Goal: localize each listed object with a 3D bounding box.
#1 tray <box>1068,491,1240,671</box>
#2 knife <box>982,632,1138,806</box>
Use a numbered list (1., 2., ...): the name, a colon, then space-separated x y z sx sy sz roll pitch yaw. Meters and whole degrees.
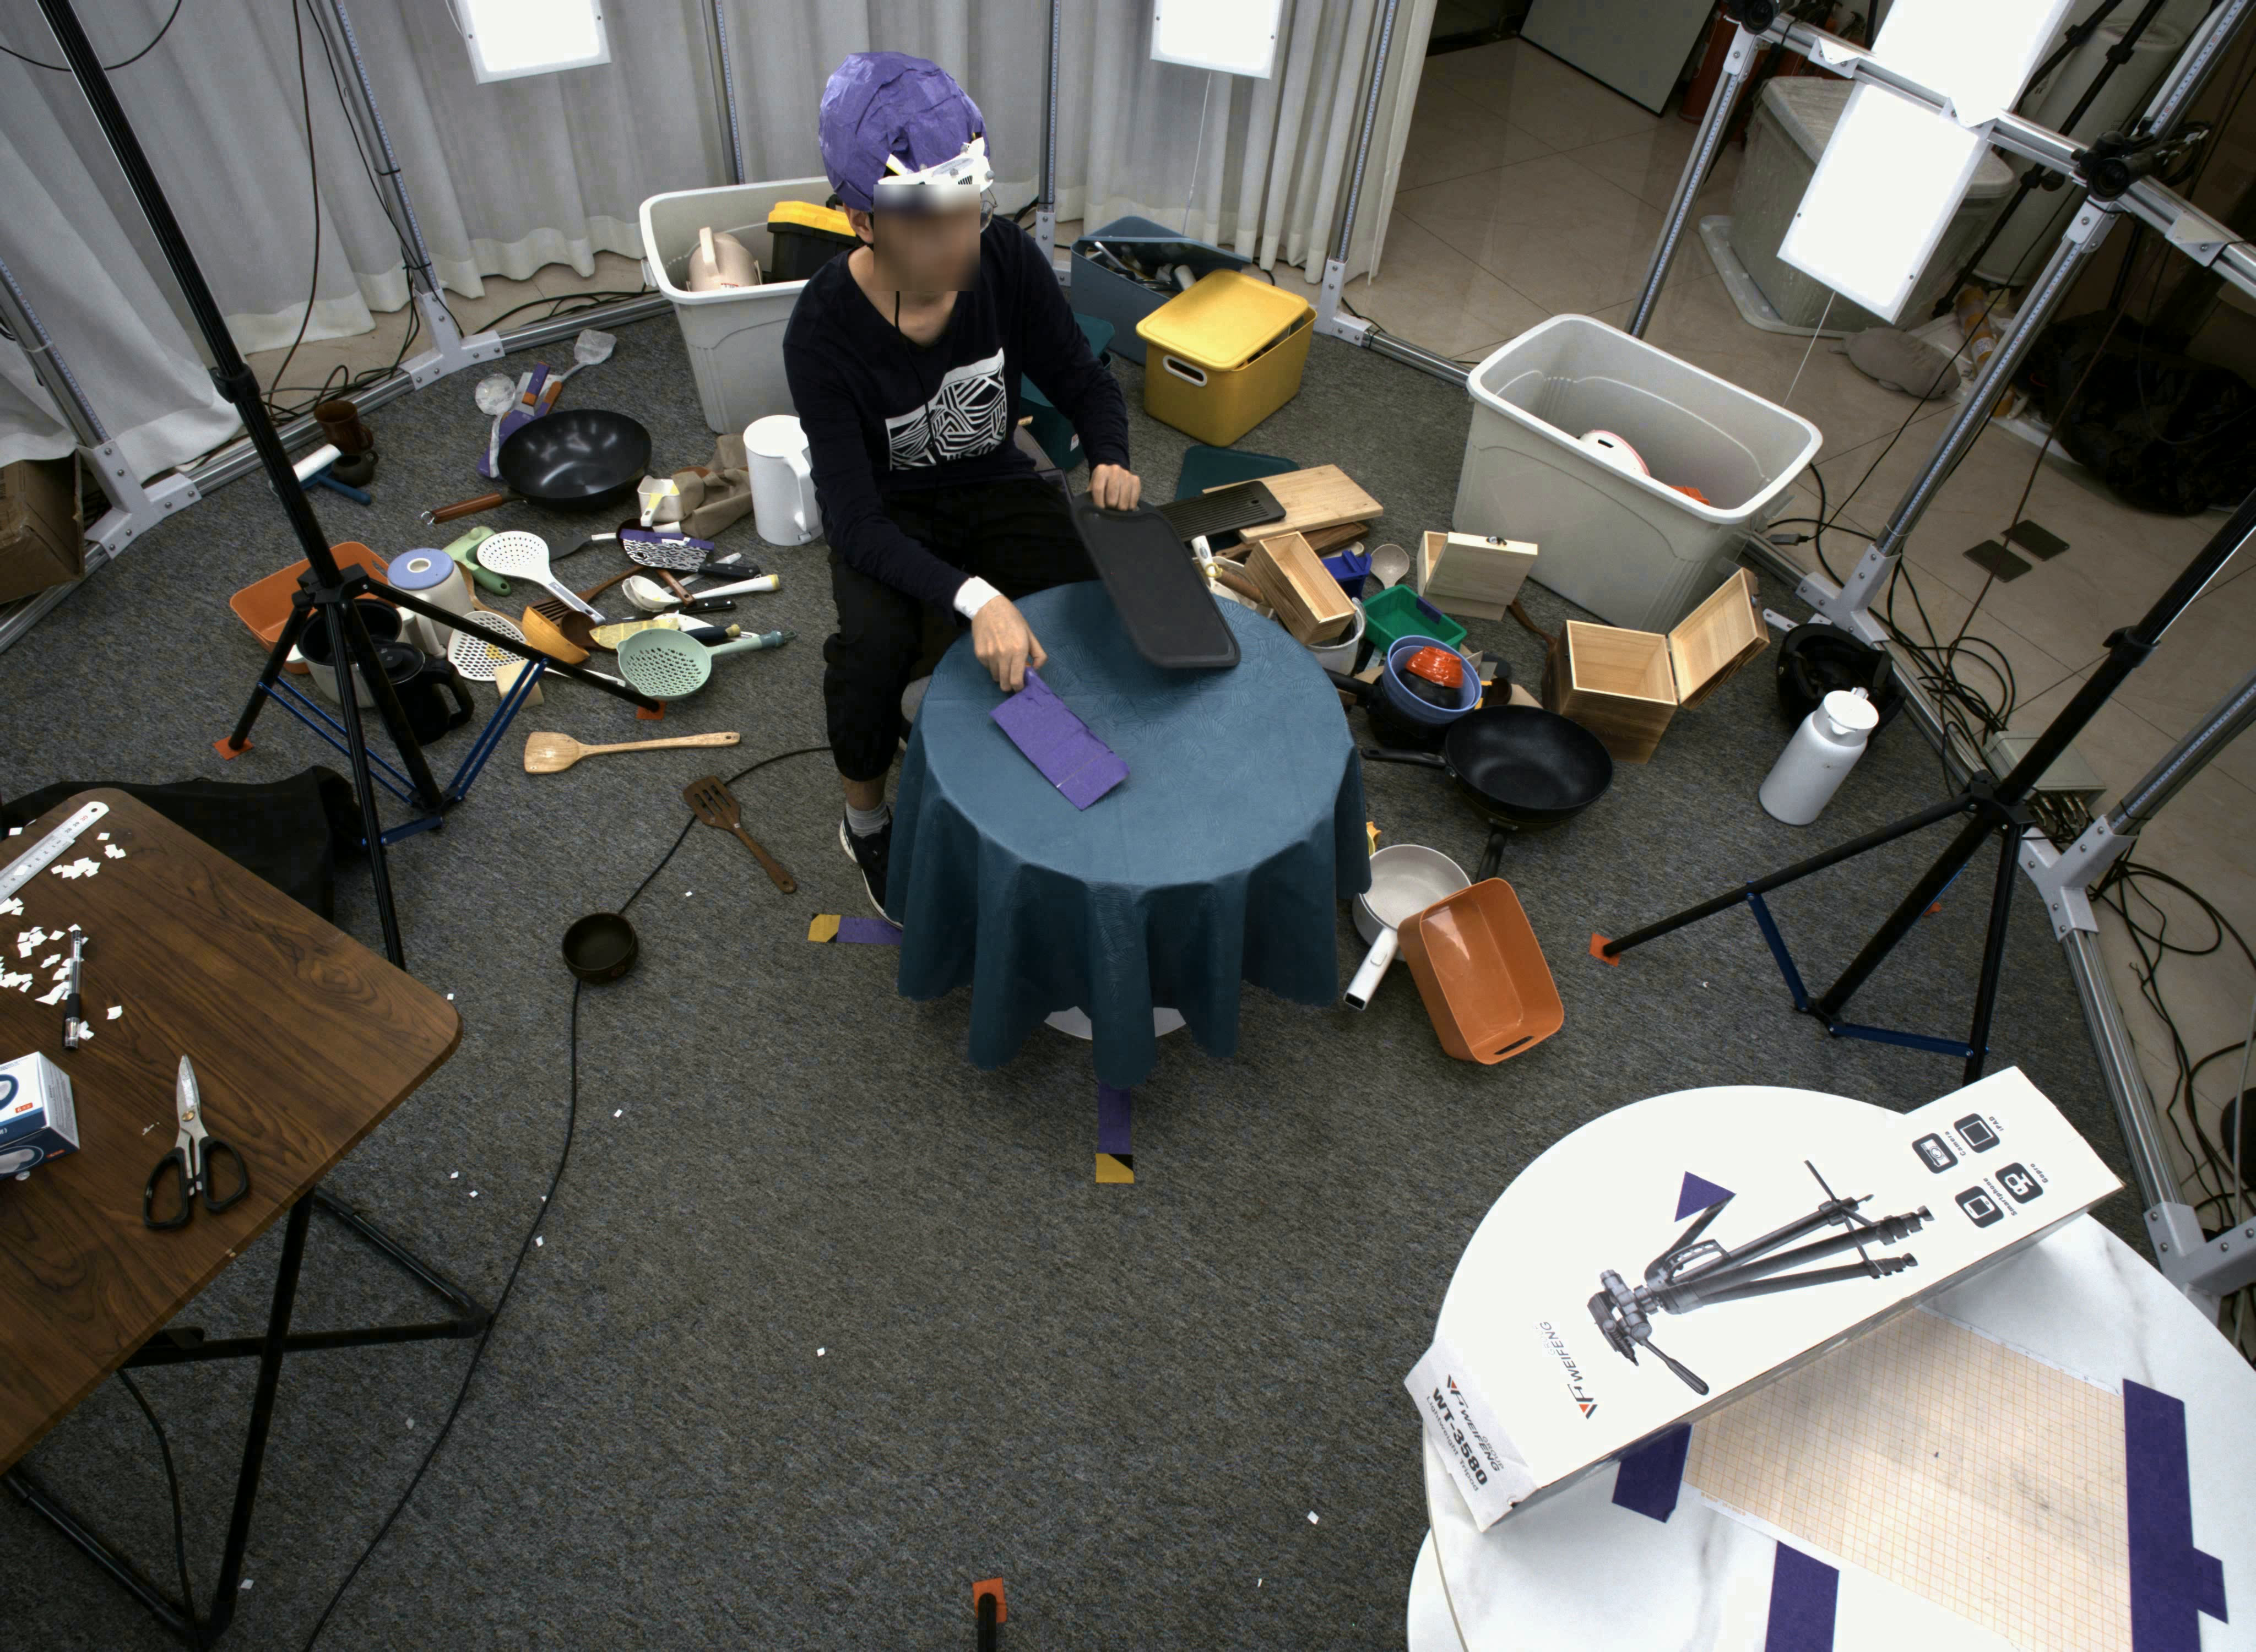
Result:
1. tray: 0.036 -0.365 1.885 0.210 0.009 0.331 -7 63 -39
2. knife: -0.122 -0.150 1.757 0.104 0.031 0.321 -35 61 -17
